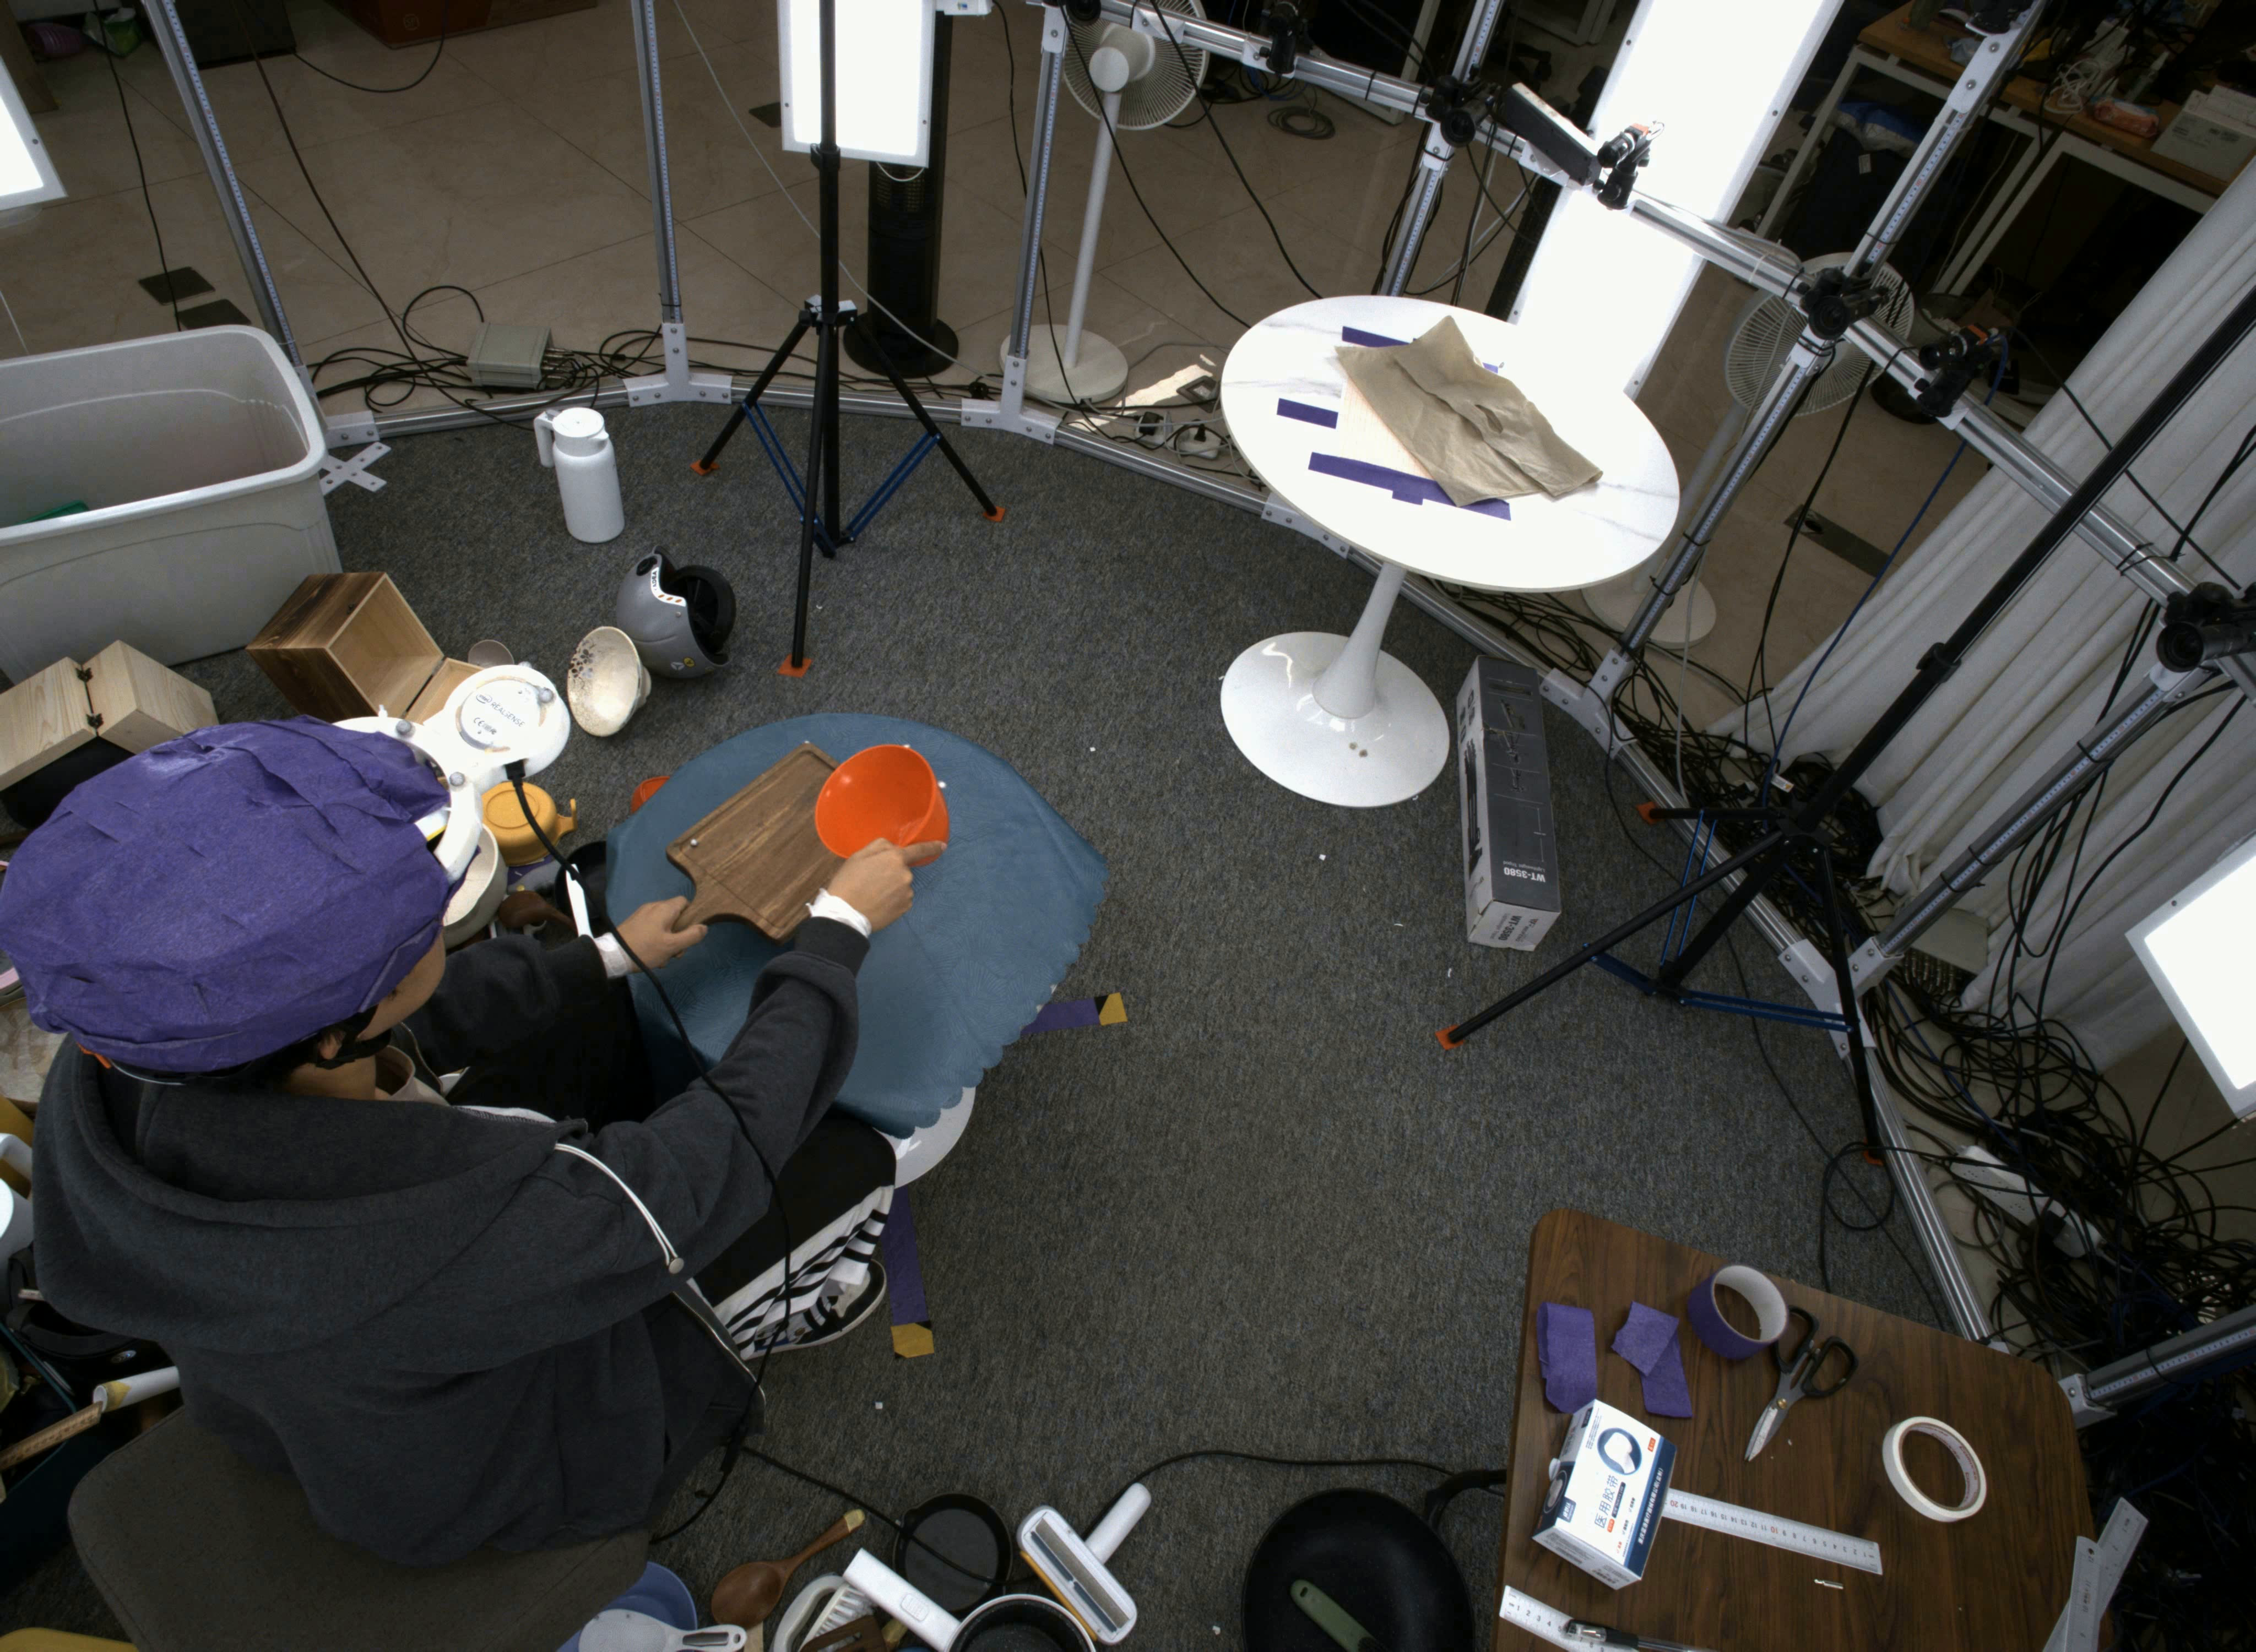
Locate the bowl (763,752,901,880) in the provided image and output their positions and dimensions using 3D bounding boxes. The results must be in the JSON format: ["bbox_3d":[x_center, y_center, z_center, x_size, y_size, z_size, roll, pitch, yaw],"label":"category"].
[{"bbox_3d":[-0.321,0.002,1.466,0.144,0.108,0.146,-13,57,23],"label":"bowl"}]

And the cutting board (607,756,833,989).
[{"bbox_3d":[-0.500,0.067,1.563,0.198,0.023,0.351,34,53,9],"label":"cutting board"}]
